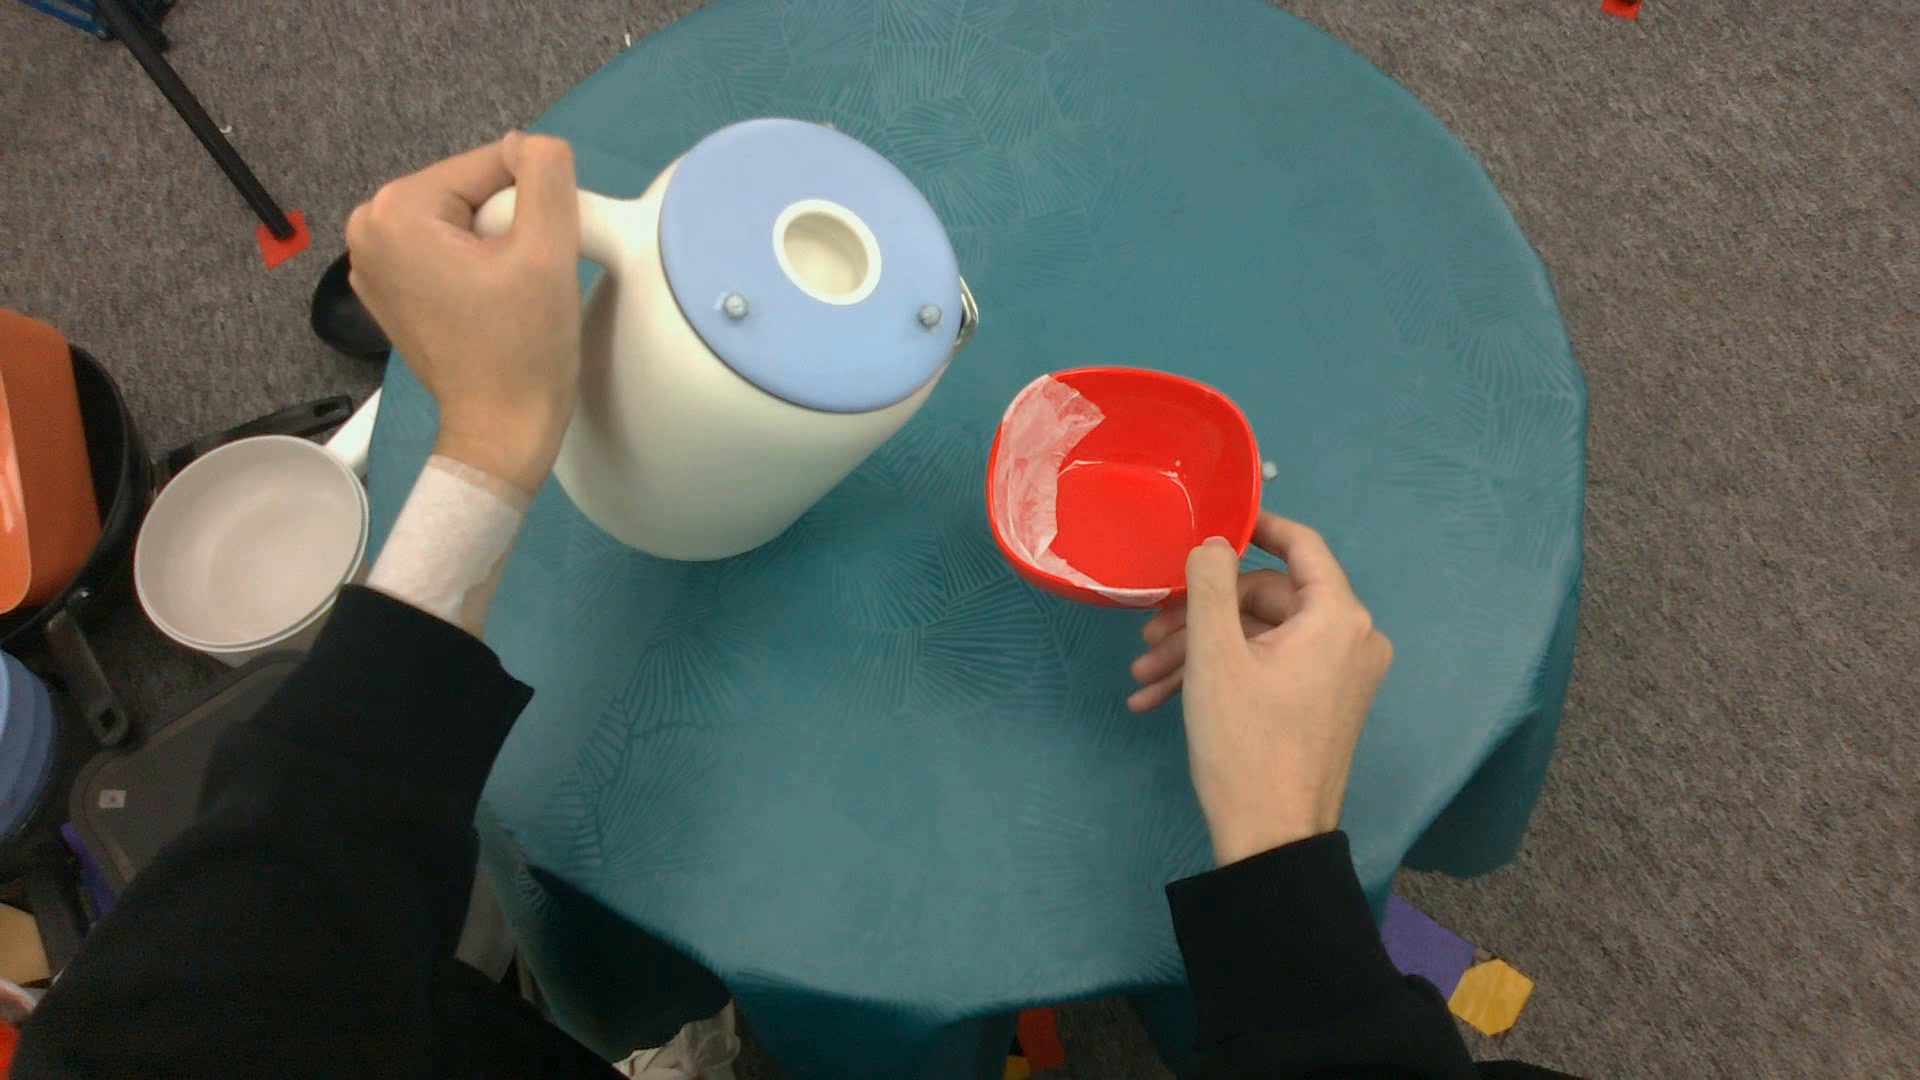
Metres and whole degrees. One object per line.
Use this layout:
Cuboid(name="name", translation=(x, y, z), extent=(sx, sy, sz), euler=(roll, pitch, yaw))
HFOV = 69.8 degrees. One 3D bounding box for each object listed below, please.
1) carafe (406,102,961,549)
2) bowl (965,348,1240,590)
Cuboid(name="carafe", translation=(-0.120, -0.087, 0.559), extent=(0.191, 0.181, 0.132), euler=(12, 64, -25))
Cuboid(name="bowl", translation=(0.057, -0.021, 0.574), extent=(0.119, 0.051, 0.119), euler=(1, 57, -1))
